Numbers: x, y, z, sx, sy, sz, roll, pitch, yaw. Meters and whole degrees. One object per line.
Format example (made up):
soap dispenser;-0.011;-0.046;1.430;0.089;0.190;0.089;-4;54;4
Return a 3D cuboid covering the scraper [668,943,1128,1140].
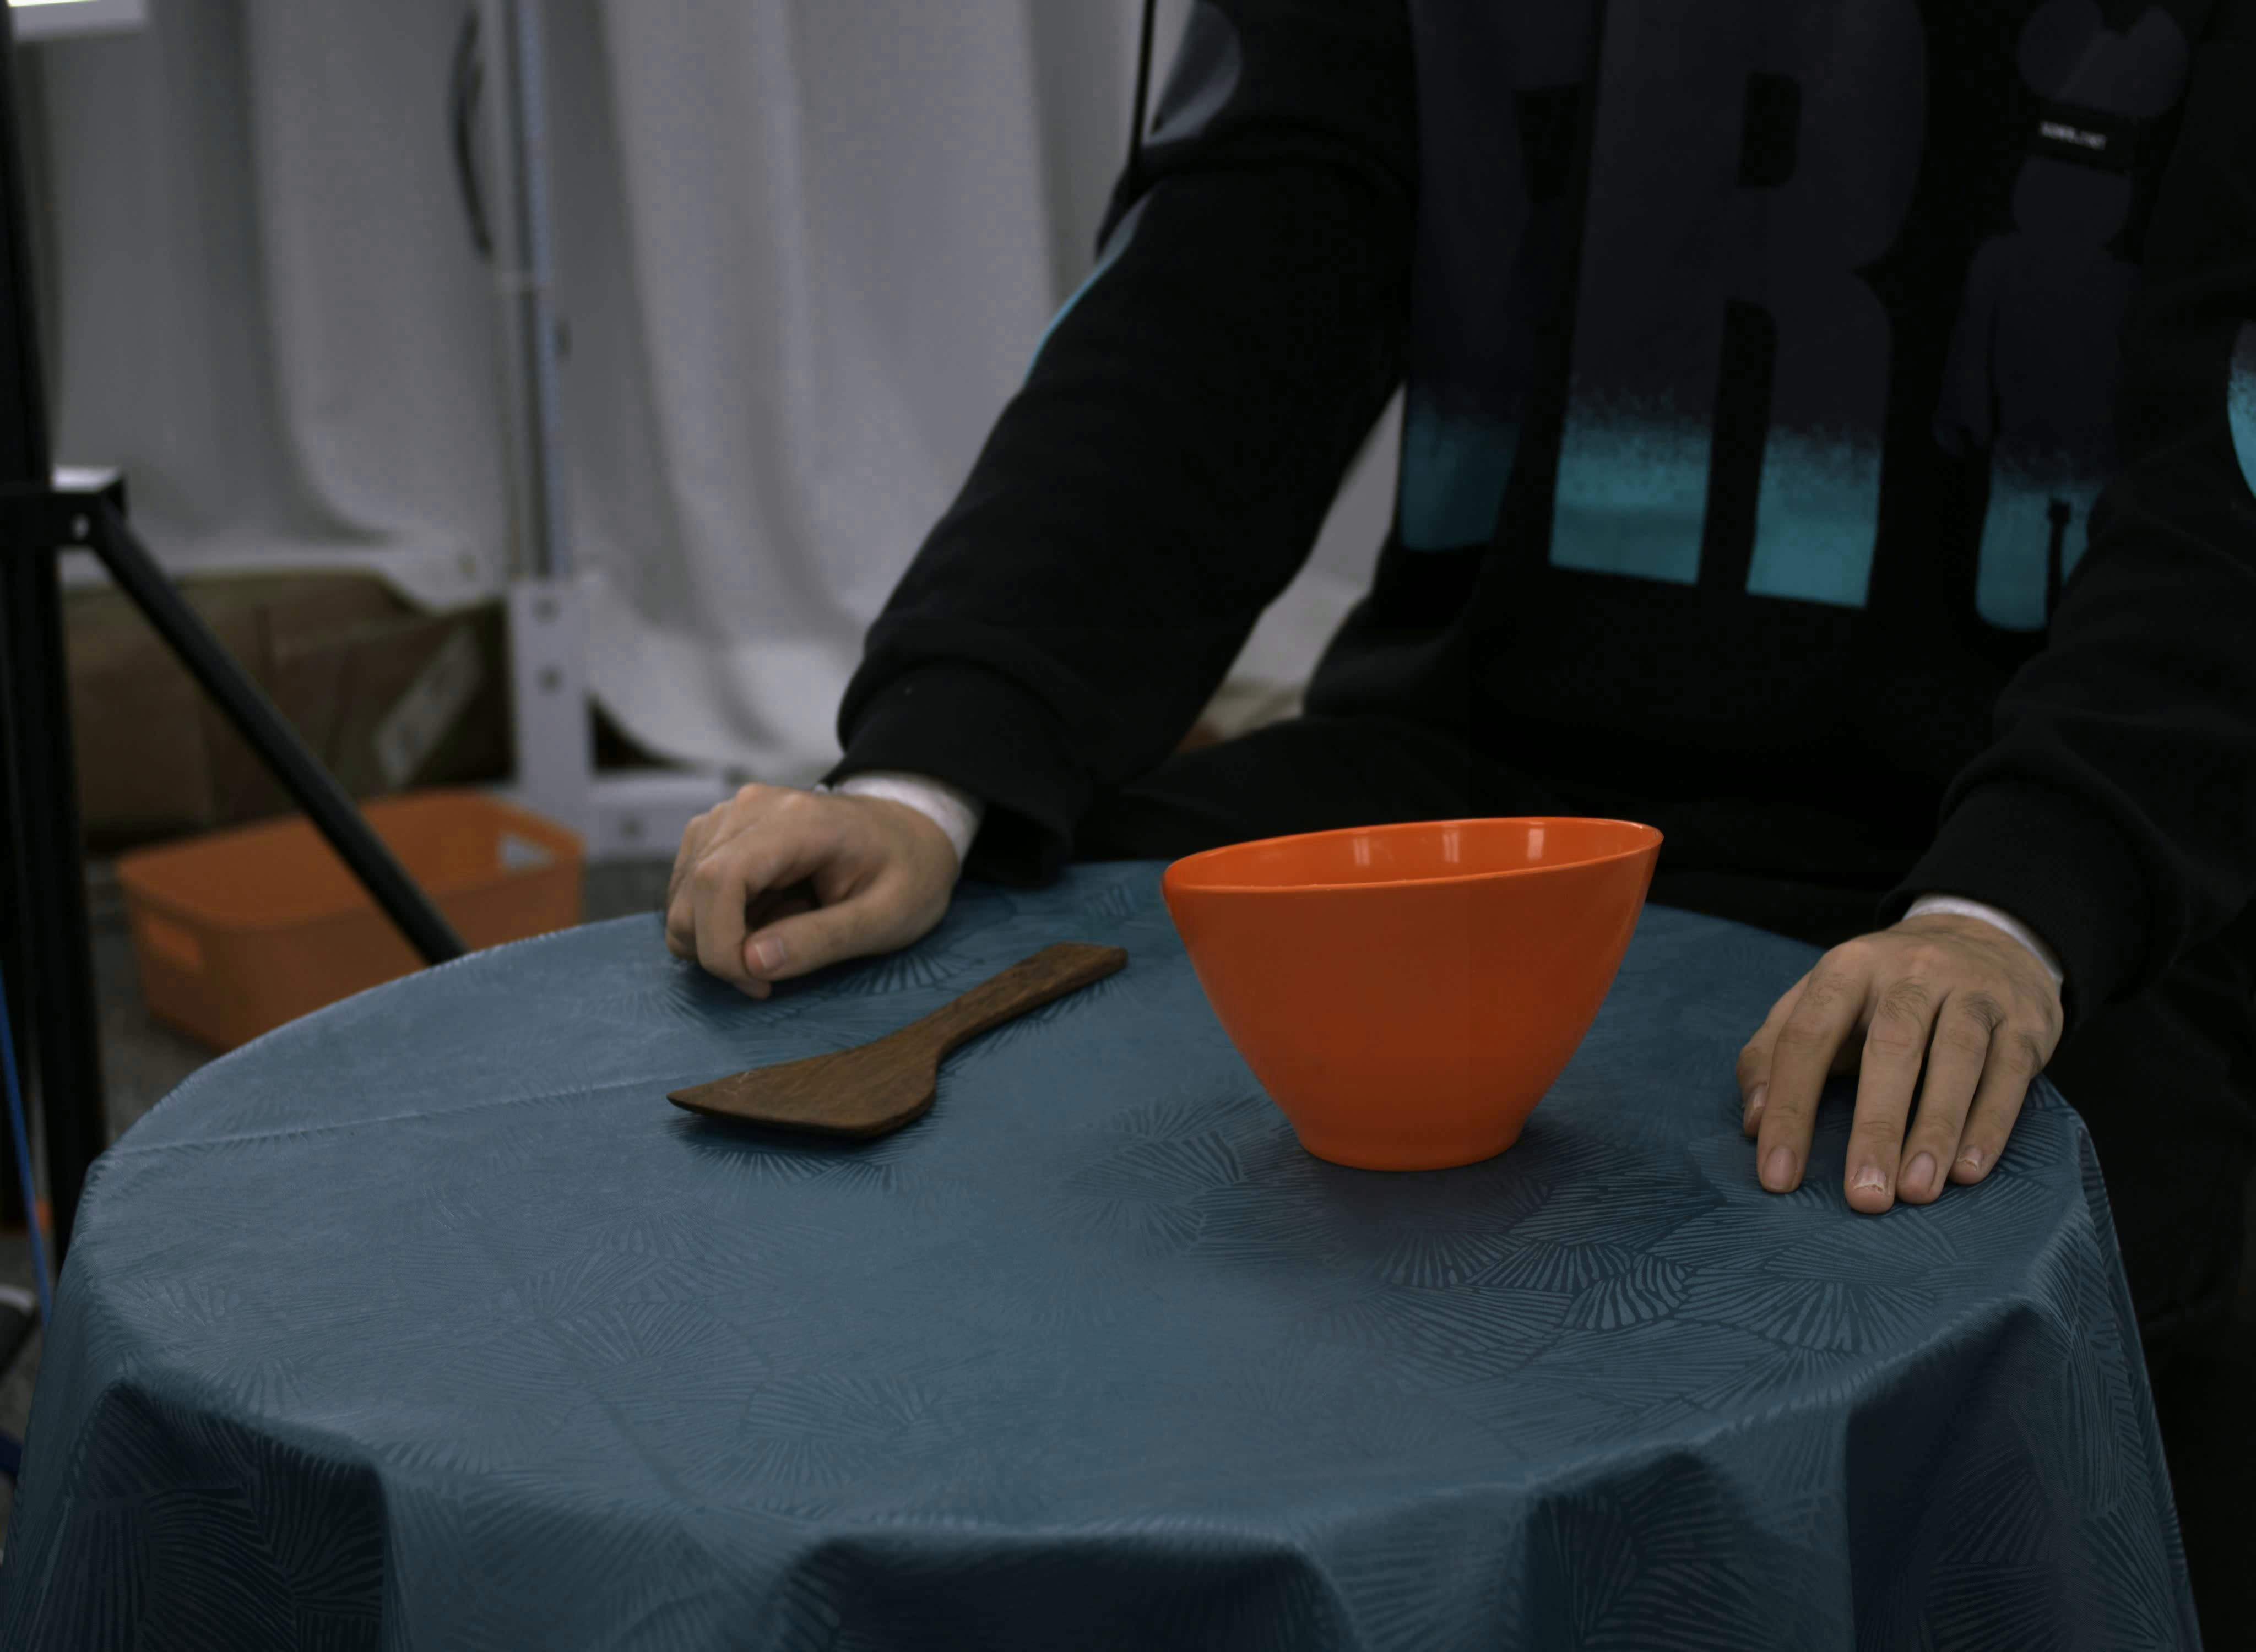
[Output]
scraper;-0.061;0.067;1.699;0.077;0.011;0.207;8;18;30

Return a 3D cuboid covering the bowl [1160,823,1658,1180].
bowl;0.084;0.049;1.571;0.147;0.104;0.149;-3;14;-1
